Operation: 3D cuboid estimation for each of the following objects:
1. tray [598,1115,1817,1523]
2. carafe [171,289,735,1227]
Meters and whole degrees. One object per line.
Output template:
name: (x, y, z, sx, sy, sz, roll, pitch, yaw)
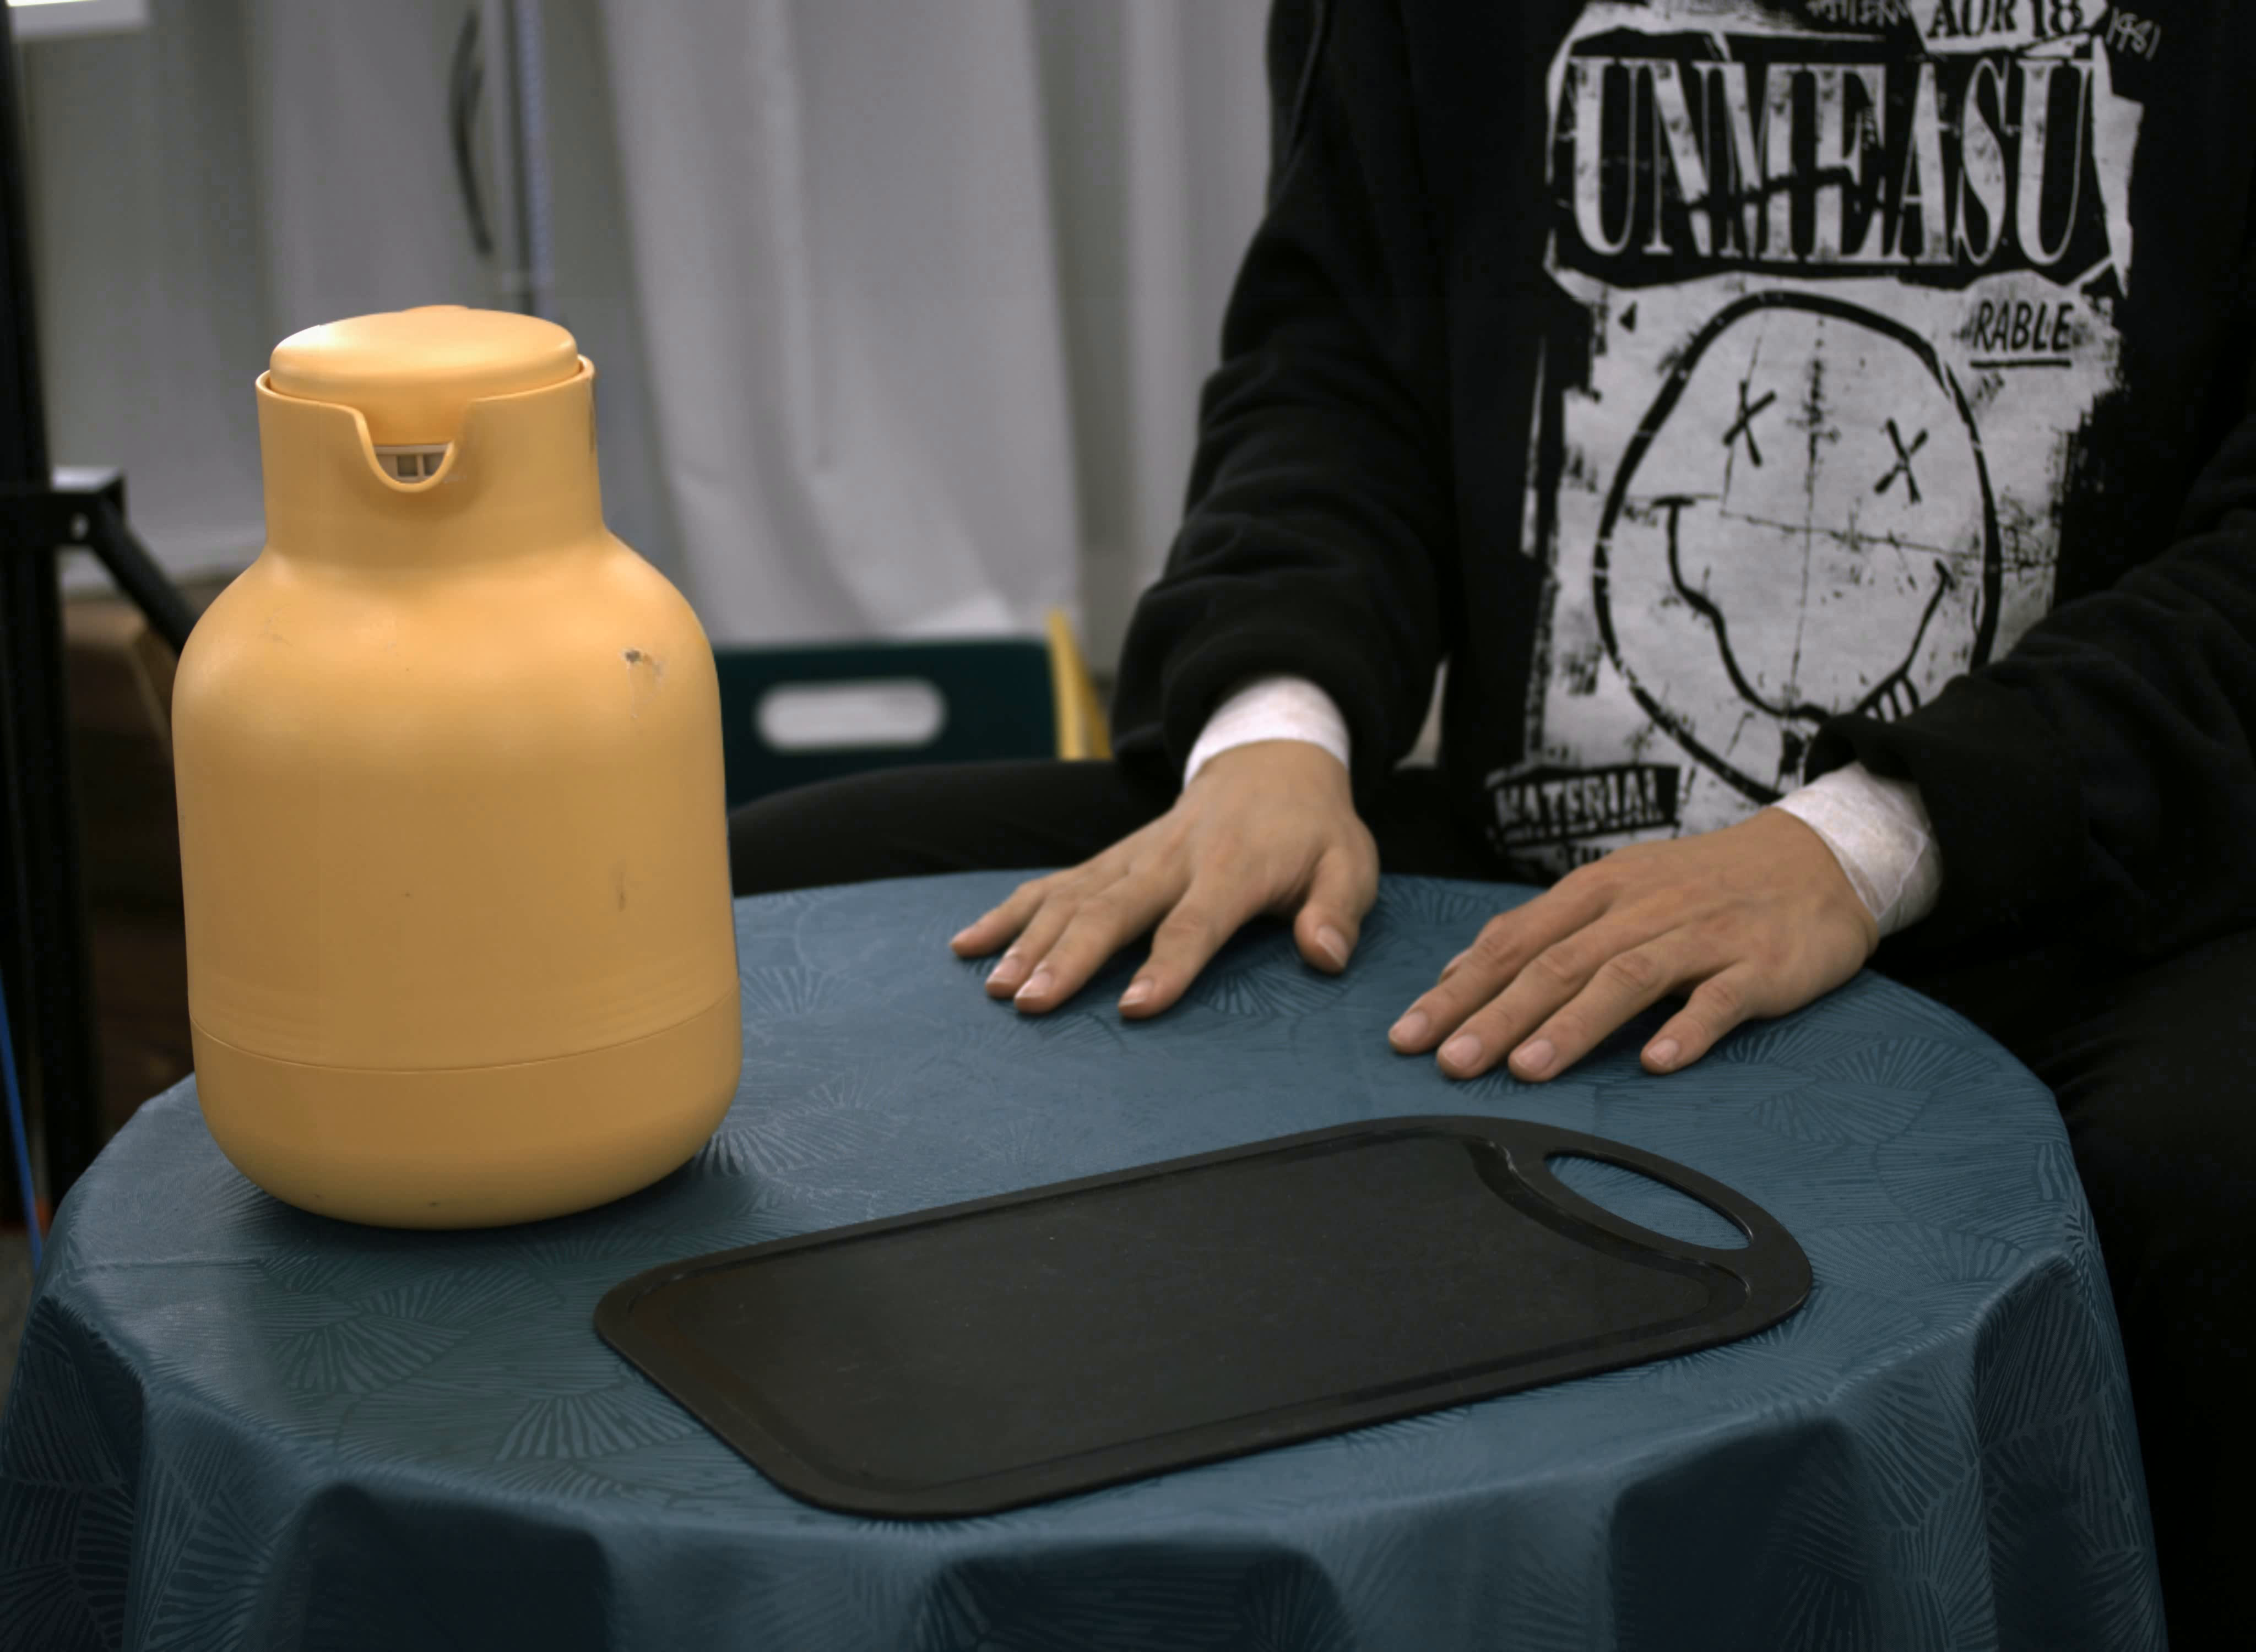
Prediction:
tray: (0.028, 0.128, 1.466, 0.319, 0.010, 0.215, -10, 17, -23)
carafe: (-0.199, -0.028, 1.590, 0.163, 0.260, 0.203, 0, 17, 0)
